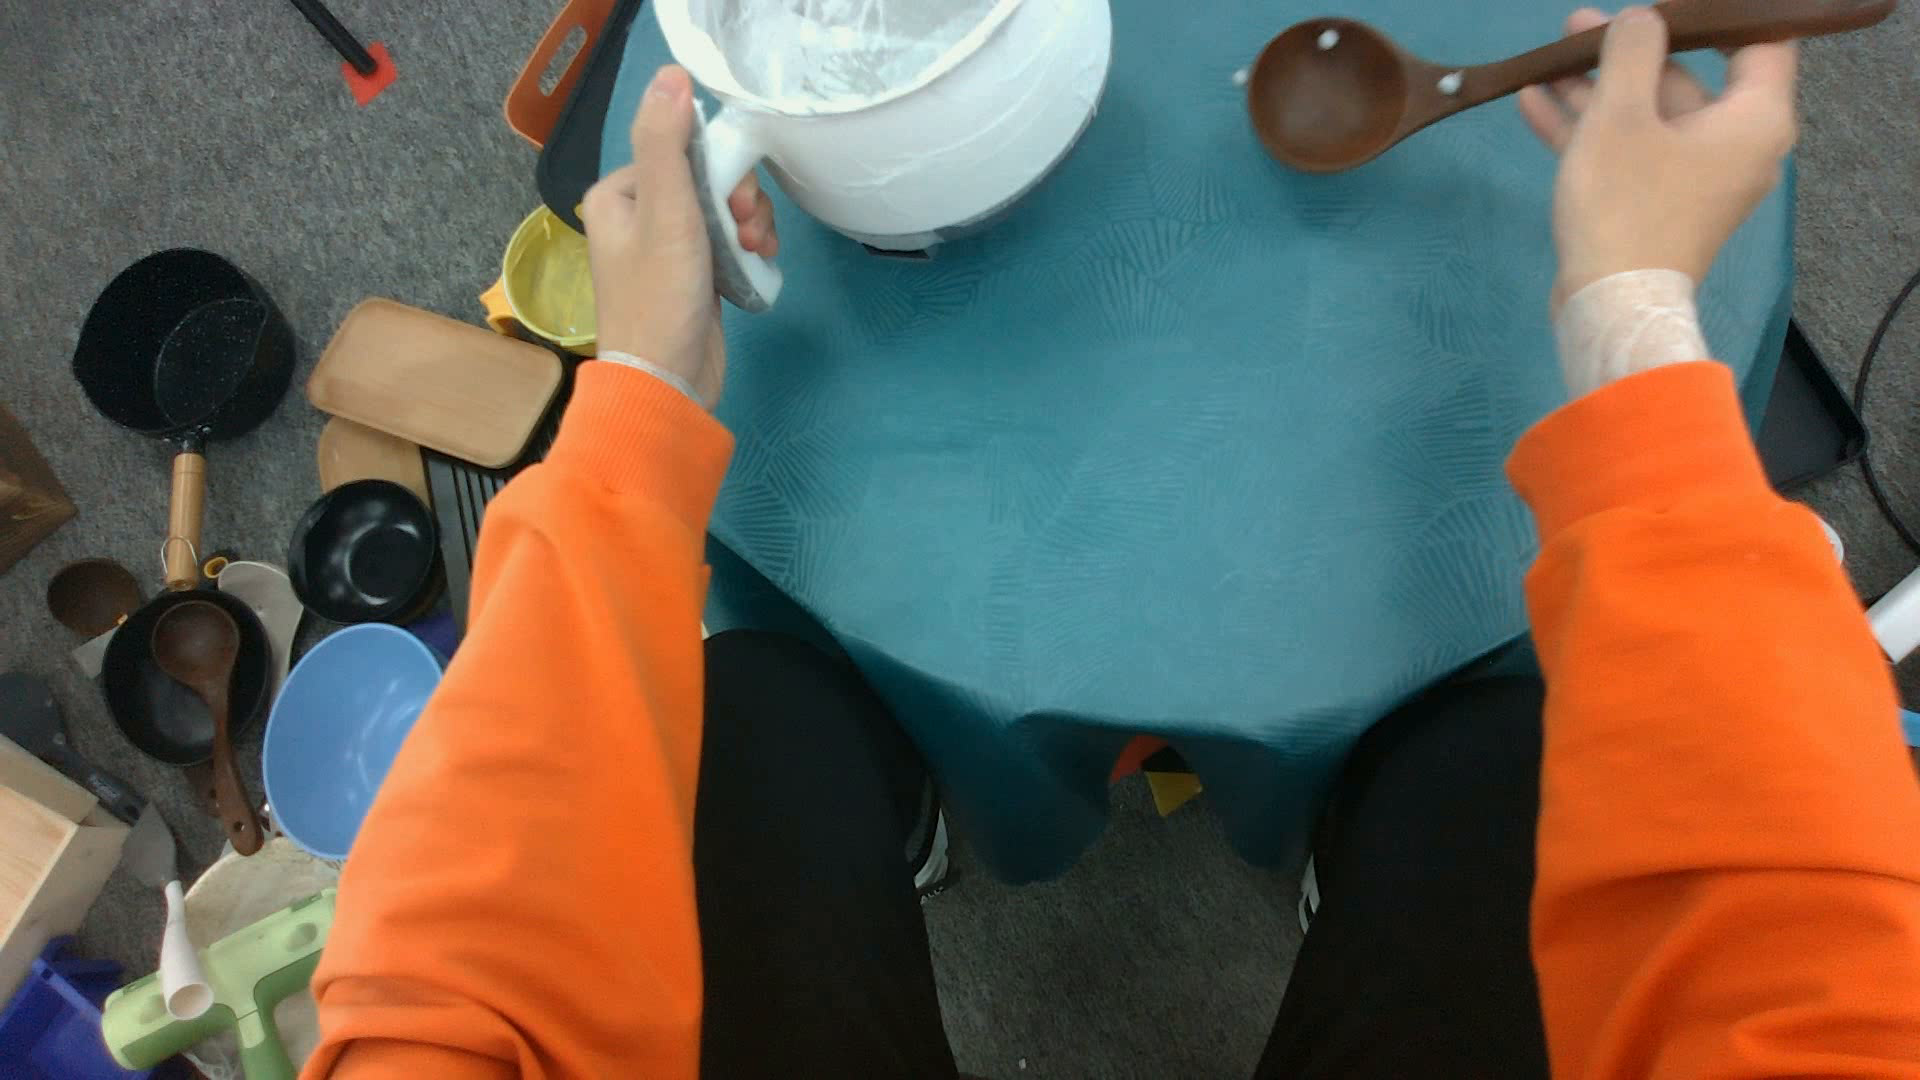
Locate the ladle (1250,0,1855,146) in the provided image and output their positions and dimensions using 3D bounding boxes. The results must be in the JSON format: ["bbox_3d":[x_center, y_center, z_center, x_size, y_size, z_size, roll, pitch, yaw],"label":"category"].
[{"bbox_3d":[0.236,-0.214,0.566,0.259,0.065,0.076,6,95,51],"label":"ladle"}]

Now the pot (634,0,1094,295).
[{"bbox_3d":[-0.053,-0.217,0.600,0.179,0.136,0.234,38,89,22],"label":"pot"}]
